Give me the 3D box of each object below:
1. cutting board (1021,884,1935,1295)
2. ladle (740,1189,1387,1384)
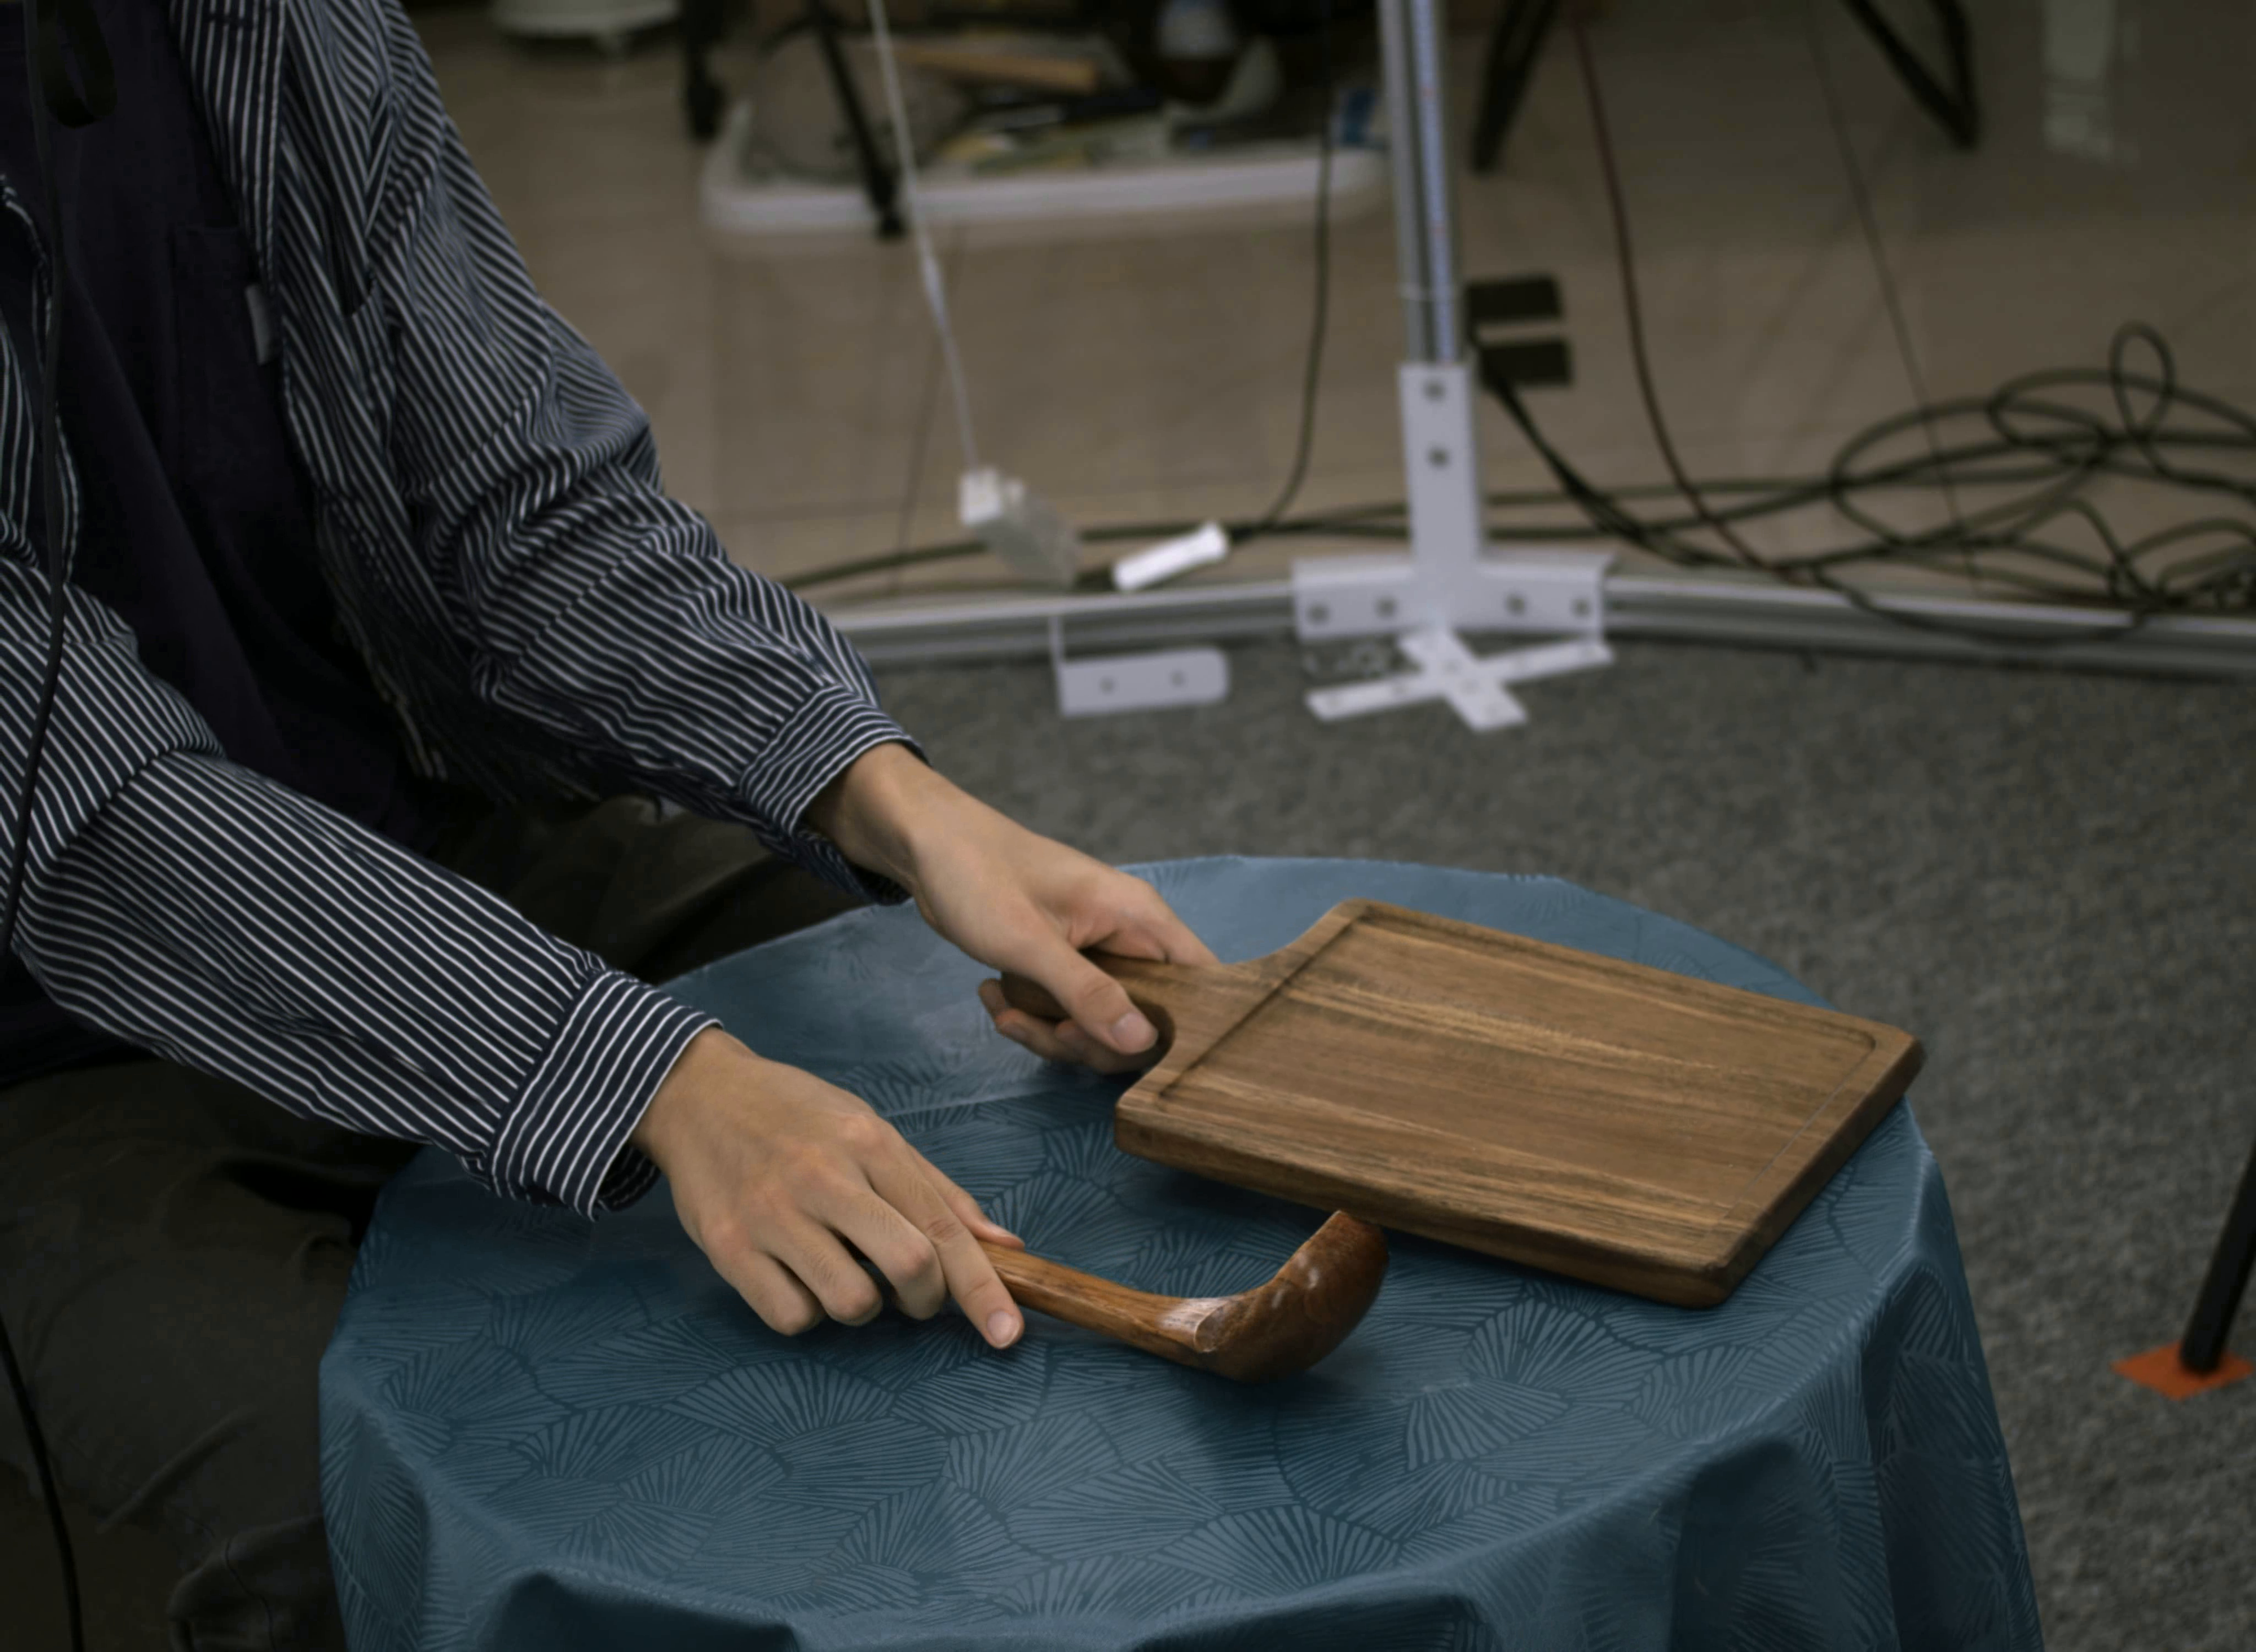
[{"bbox_3d":[0.113,0.085,2.177,0.350,0.023,0.199,14,32,27],"label":"cutting board"},{"bbox_3d":[-0.031,0.144,2.048,0.272,0.078,0.081,14,27,31],"label":"ladle"}]
